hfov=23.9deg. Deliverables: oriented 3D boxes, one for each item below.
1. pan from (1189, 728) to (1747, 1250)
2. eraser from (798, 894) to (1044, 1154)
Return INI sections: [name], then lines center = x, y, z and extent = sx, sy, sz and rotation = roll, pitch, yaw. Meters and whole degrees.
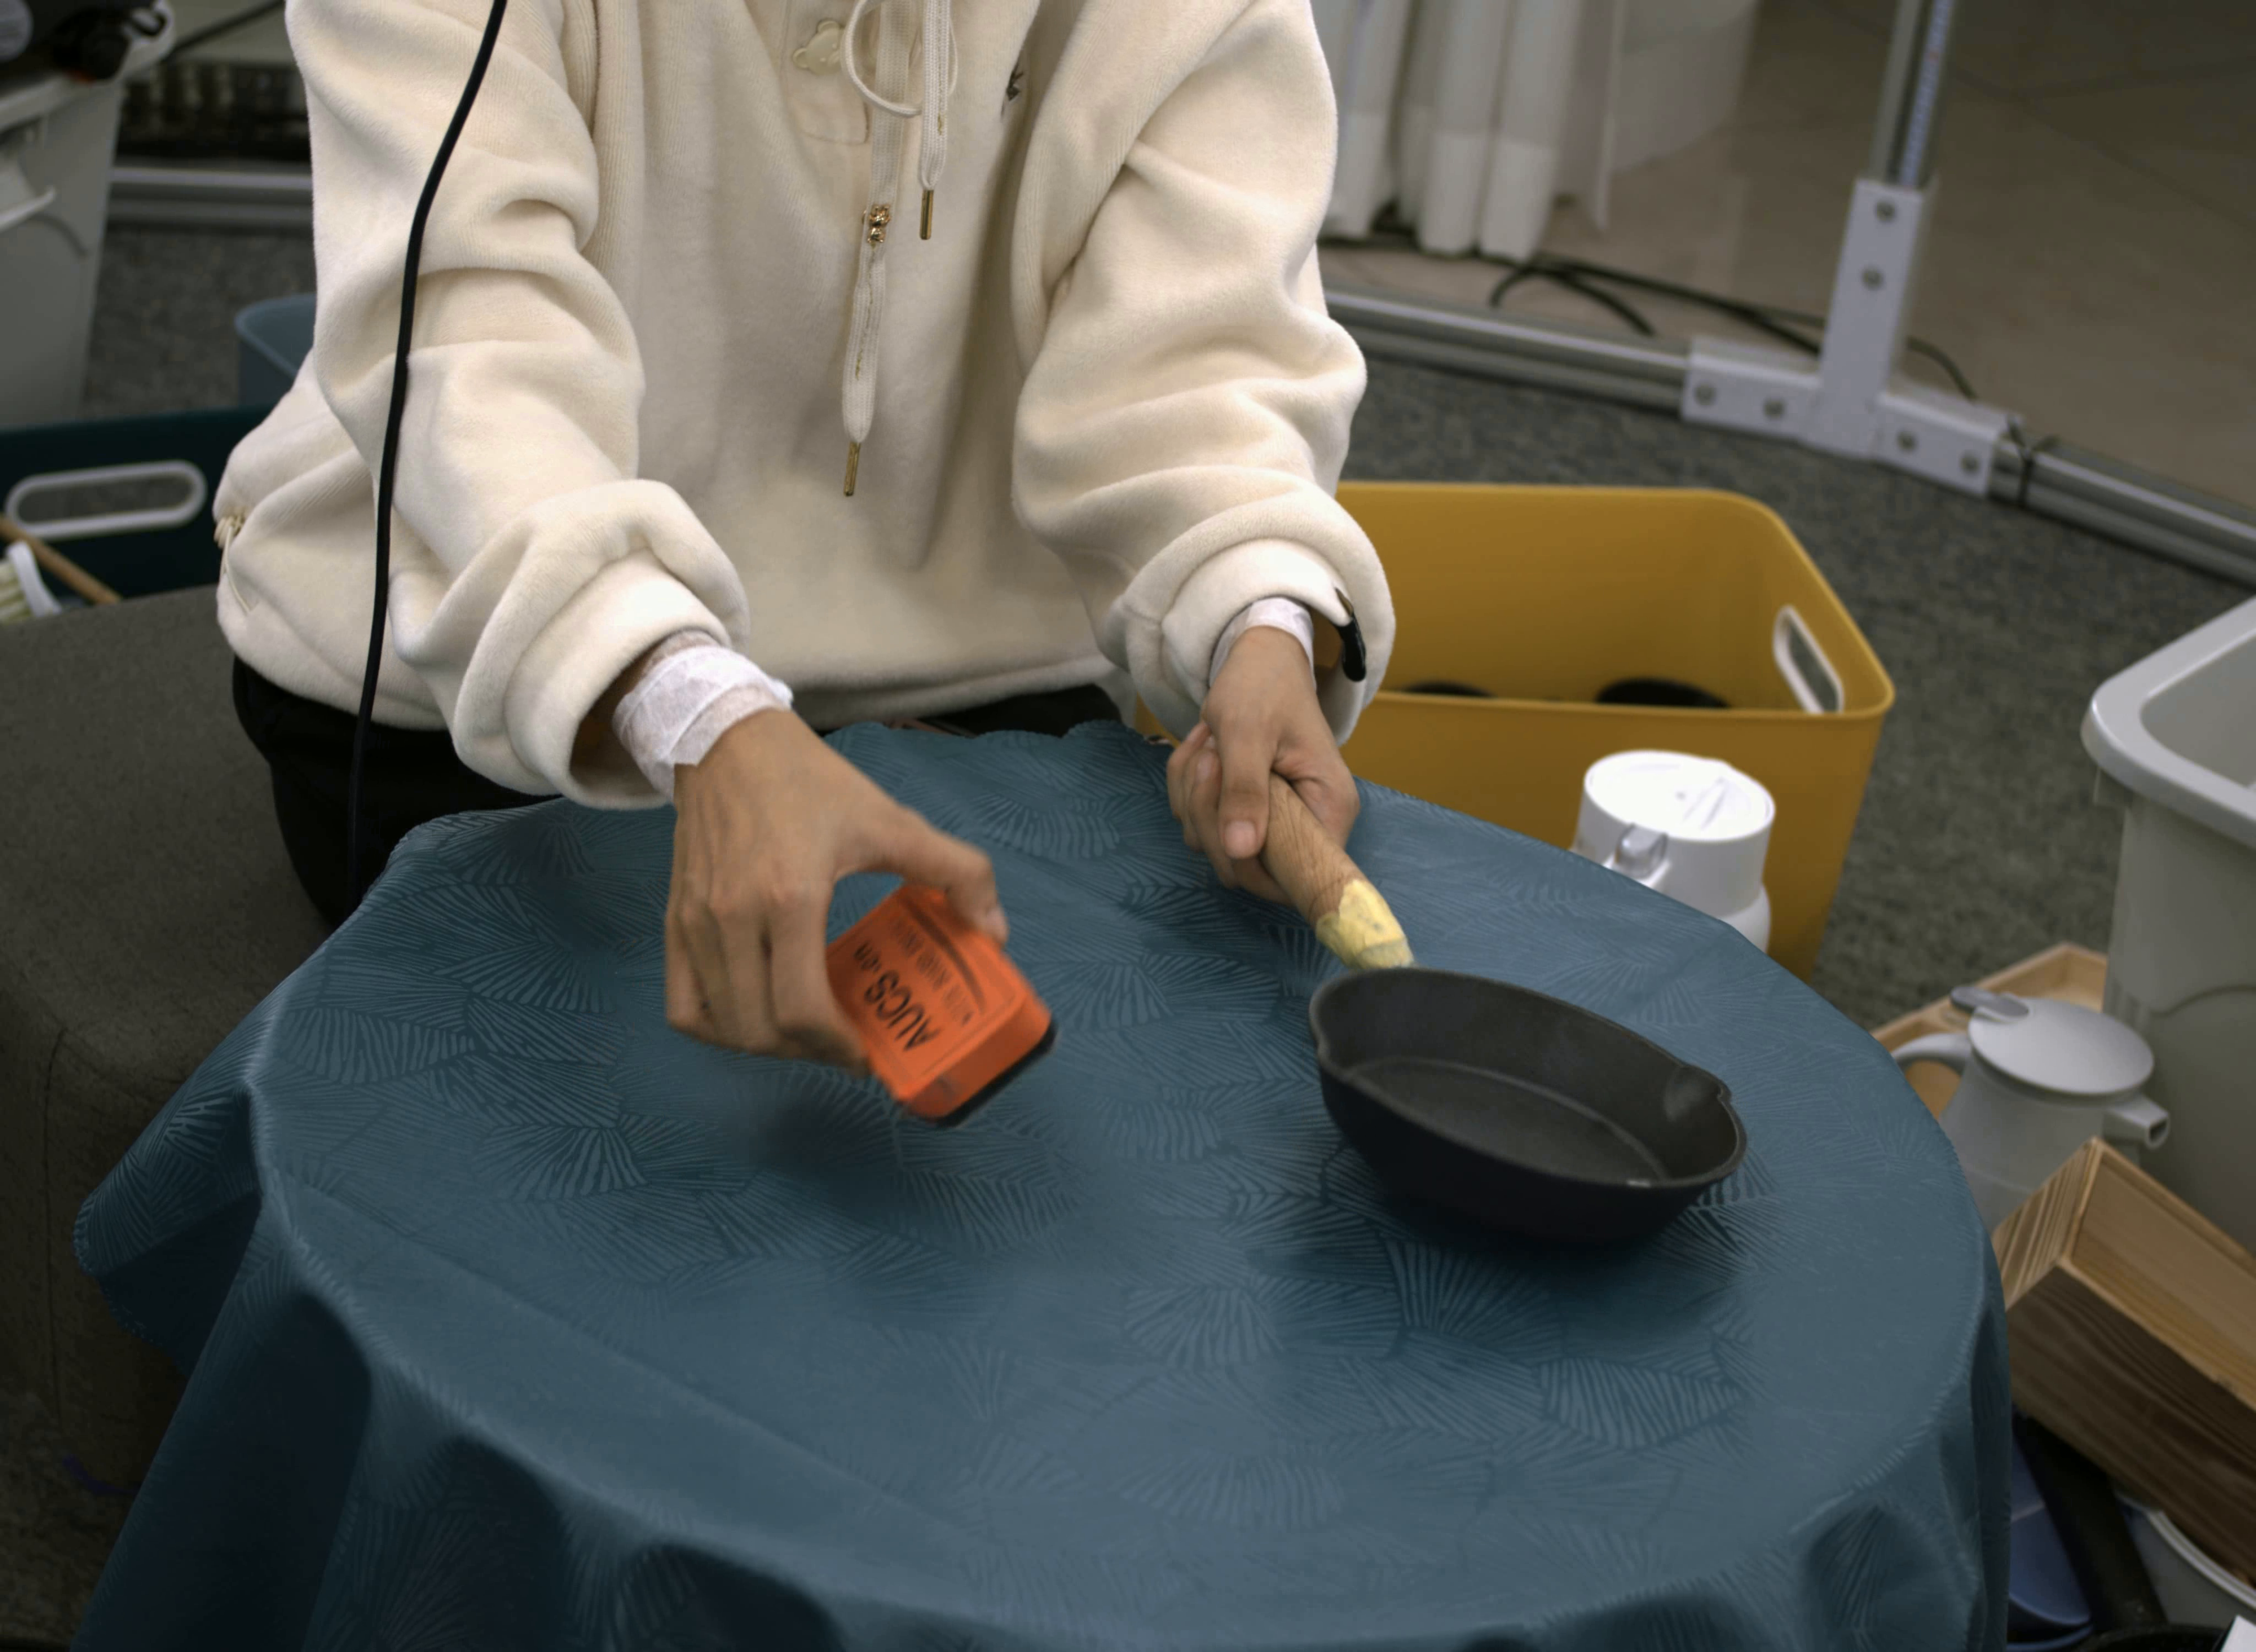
[pan]
center = 0.098, 0.055, 1.884
extent = 0.167, 0.049, 0.327
rotation = 2, 26, -29
[eraser]
center = -0.070, 0.066, 1.793
extent = 0.059, 0.022, 0.109
rotation = -39, 31, -3
